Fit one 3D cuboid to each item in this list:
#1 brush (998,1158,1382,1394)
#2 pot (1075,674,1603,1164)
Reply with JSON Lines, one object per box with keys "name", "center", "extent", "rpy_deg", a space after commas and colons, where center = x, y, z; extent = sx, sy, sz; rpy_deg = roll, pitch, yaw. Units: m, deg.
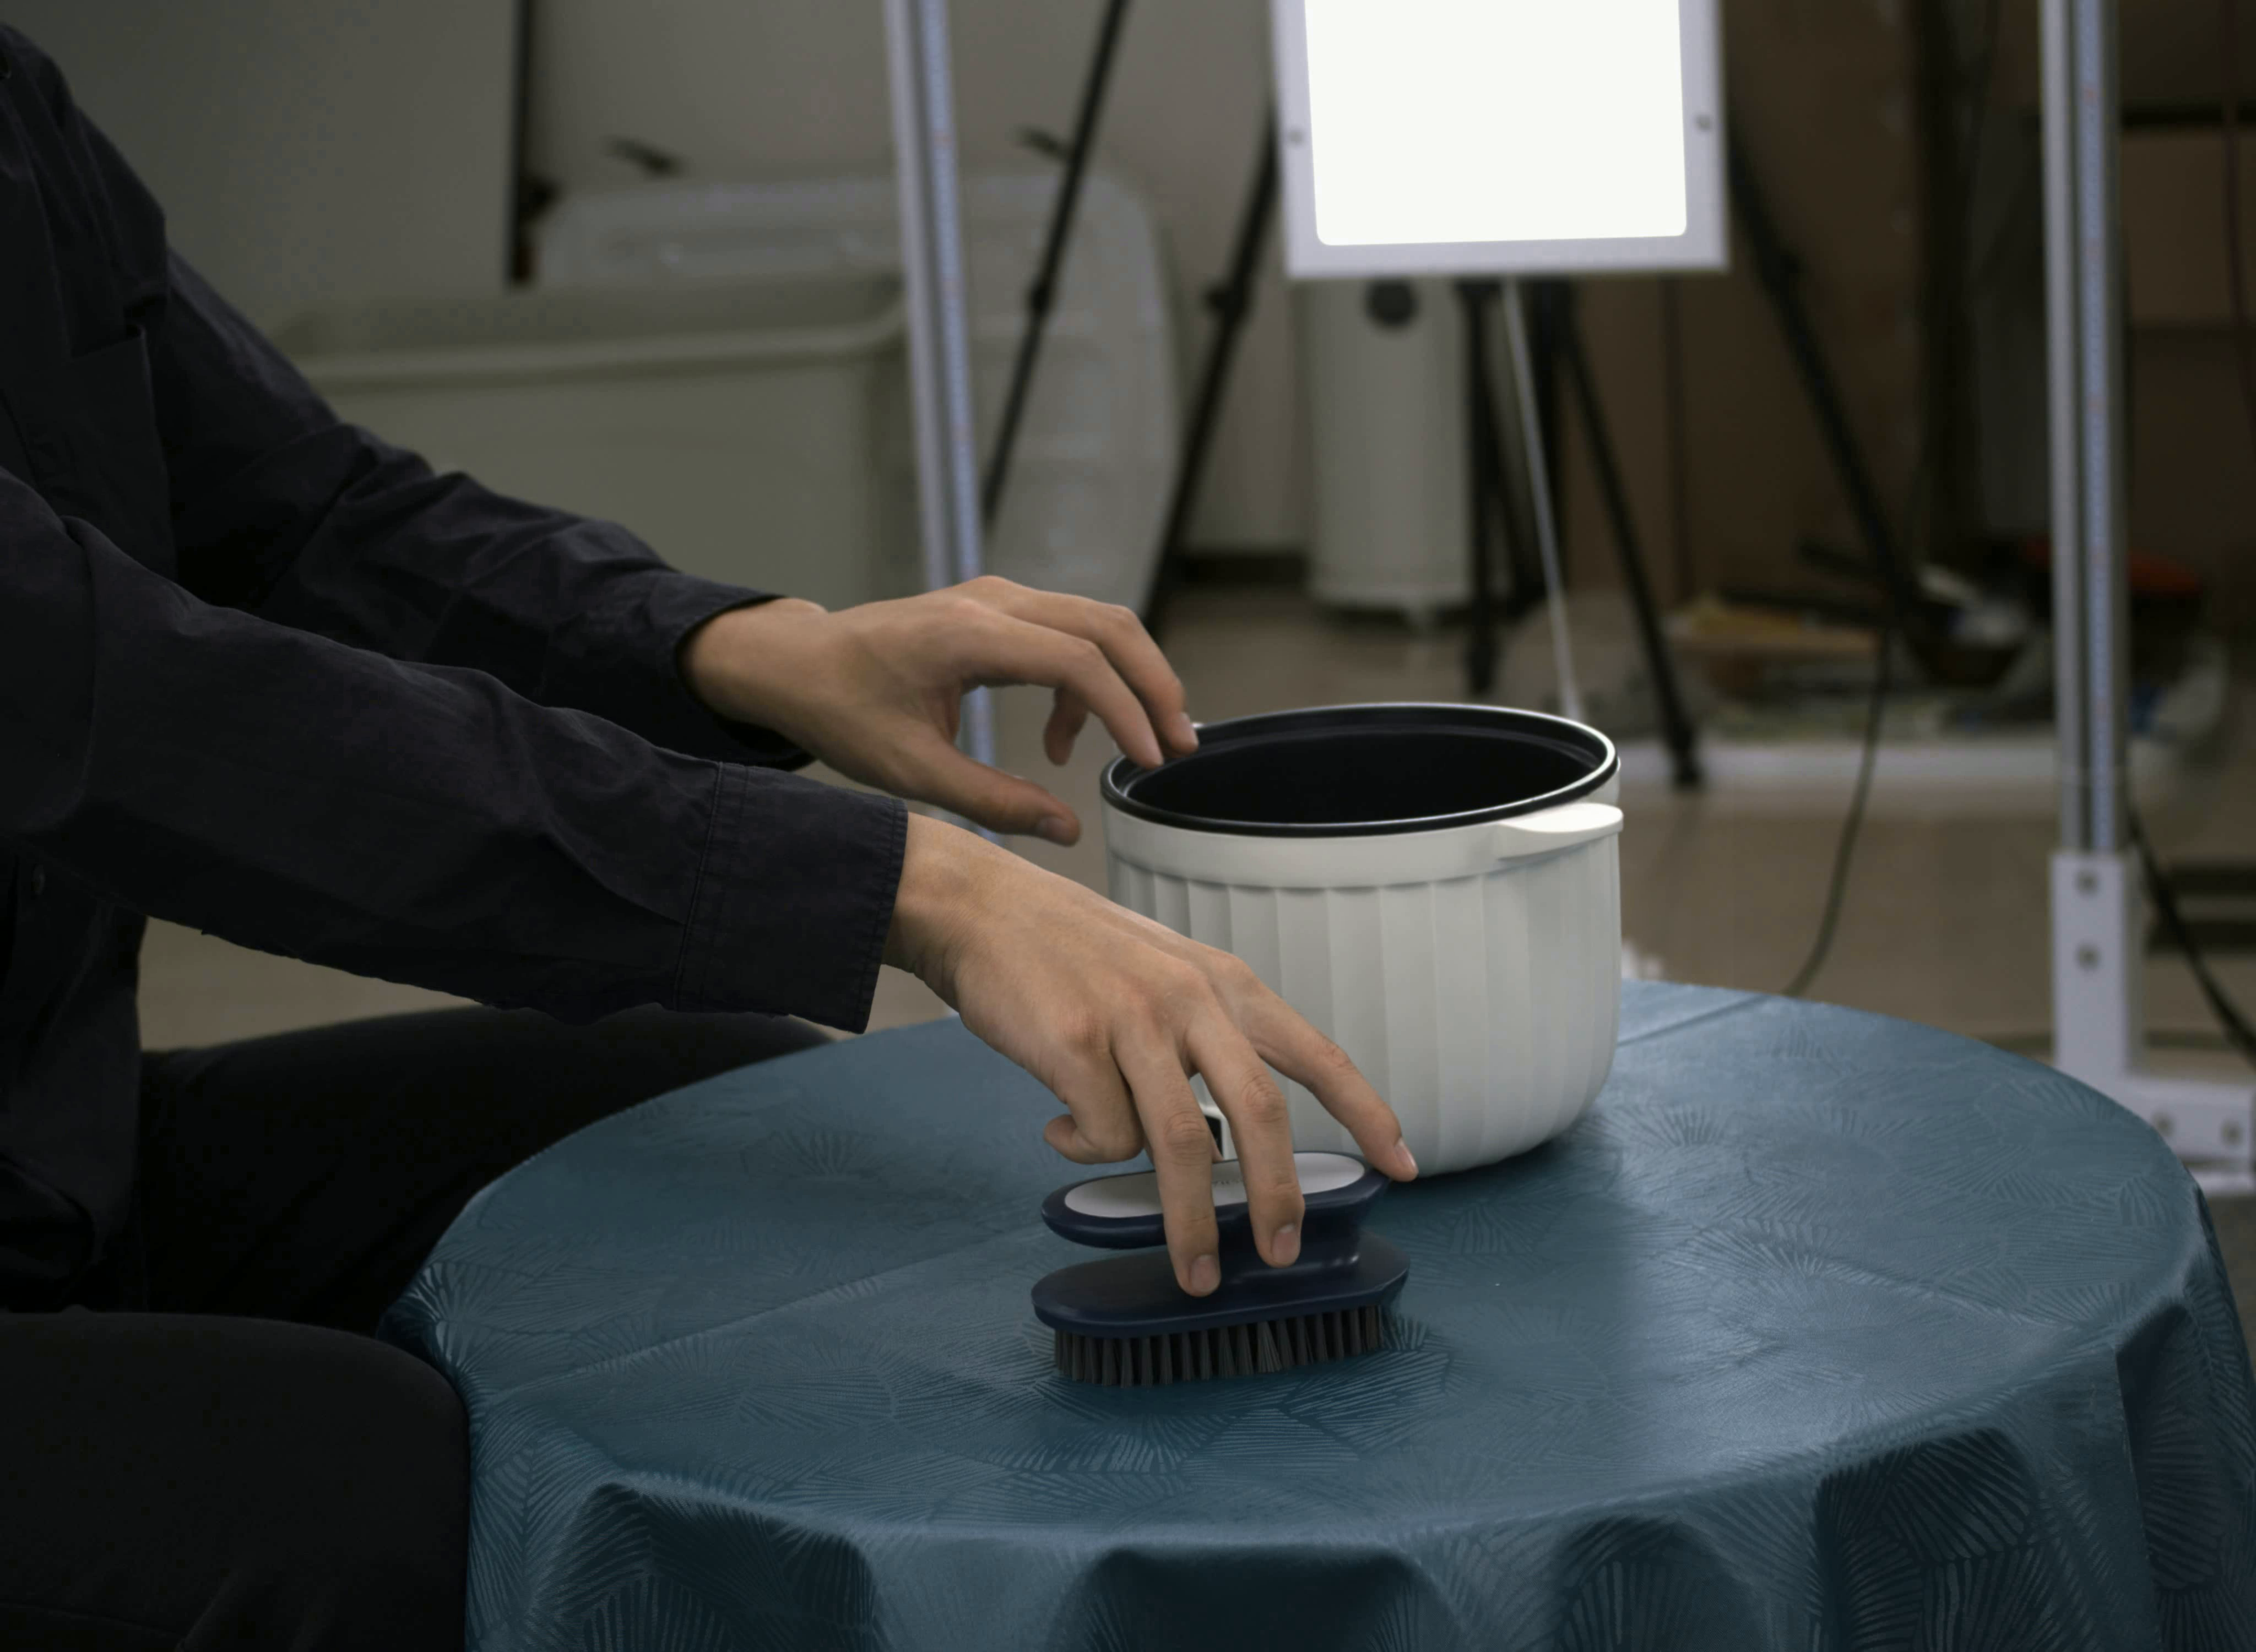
{"name": "brush", "center": [0.020, 0.142, 1.719], "extent": [0.120, 0.061, 0.068], "rpy_deg": [-3, 16, -7]}
{"name": "pot", "center": [0.080, 0.030, 1.939], "extent": [0.186, 0.143, 0.245], "rpy_deg": [-19, 21, -37]}
